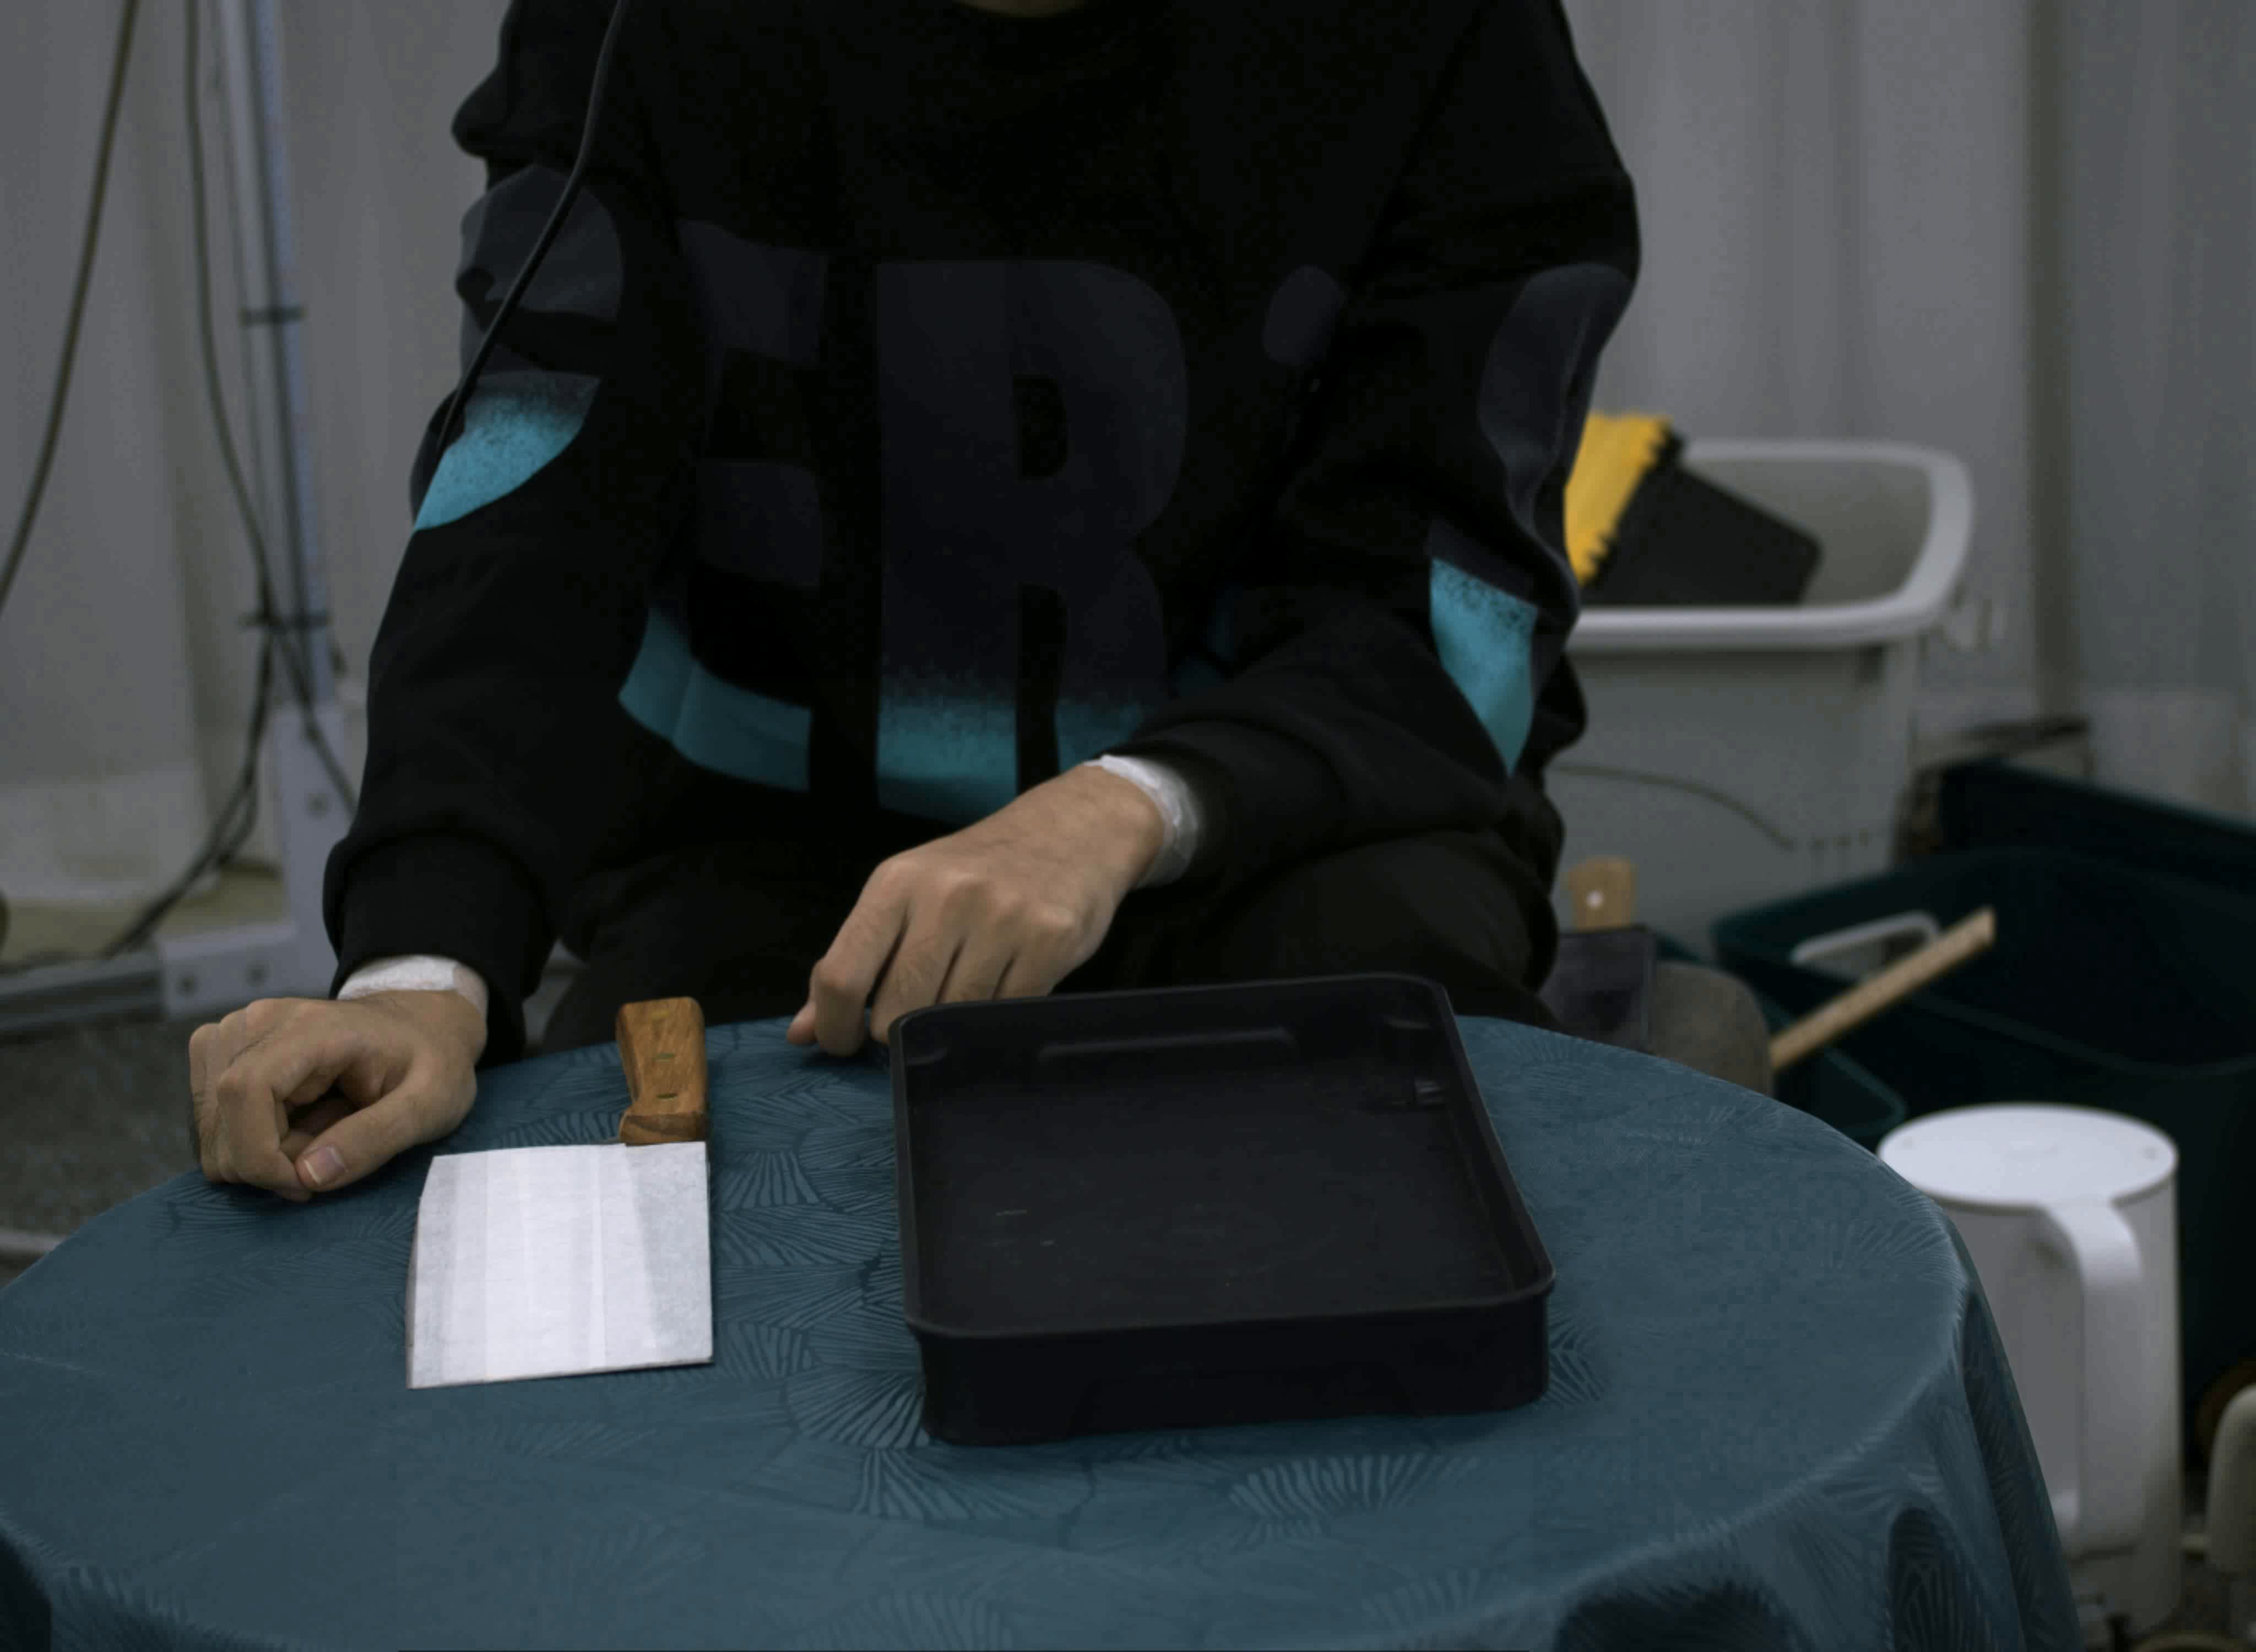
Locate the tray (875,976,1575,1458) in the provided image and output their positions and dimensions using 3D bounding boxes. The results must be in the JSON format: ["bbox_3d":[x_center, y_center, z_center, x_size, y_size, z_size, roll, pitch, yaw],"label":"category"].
[{"bbox_3d":[0.022,0.112,1.651,0.183,0.037,0.320,-5,15,-4],"label":"tray"}]

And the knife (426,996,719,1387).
[{"bbox_3d":[-0.175,0.114,1.725,0.092,0.021,0.308,-6,17,-3],"label":"knife"}]
